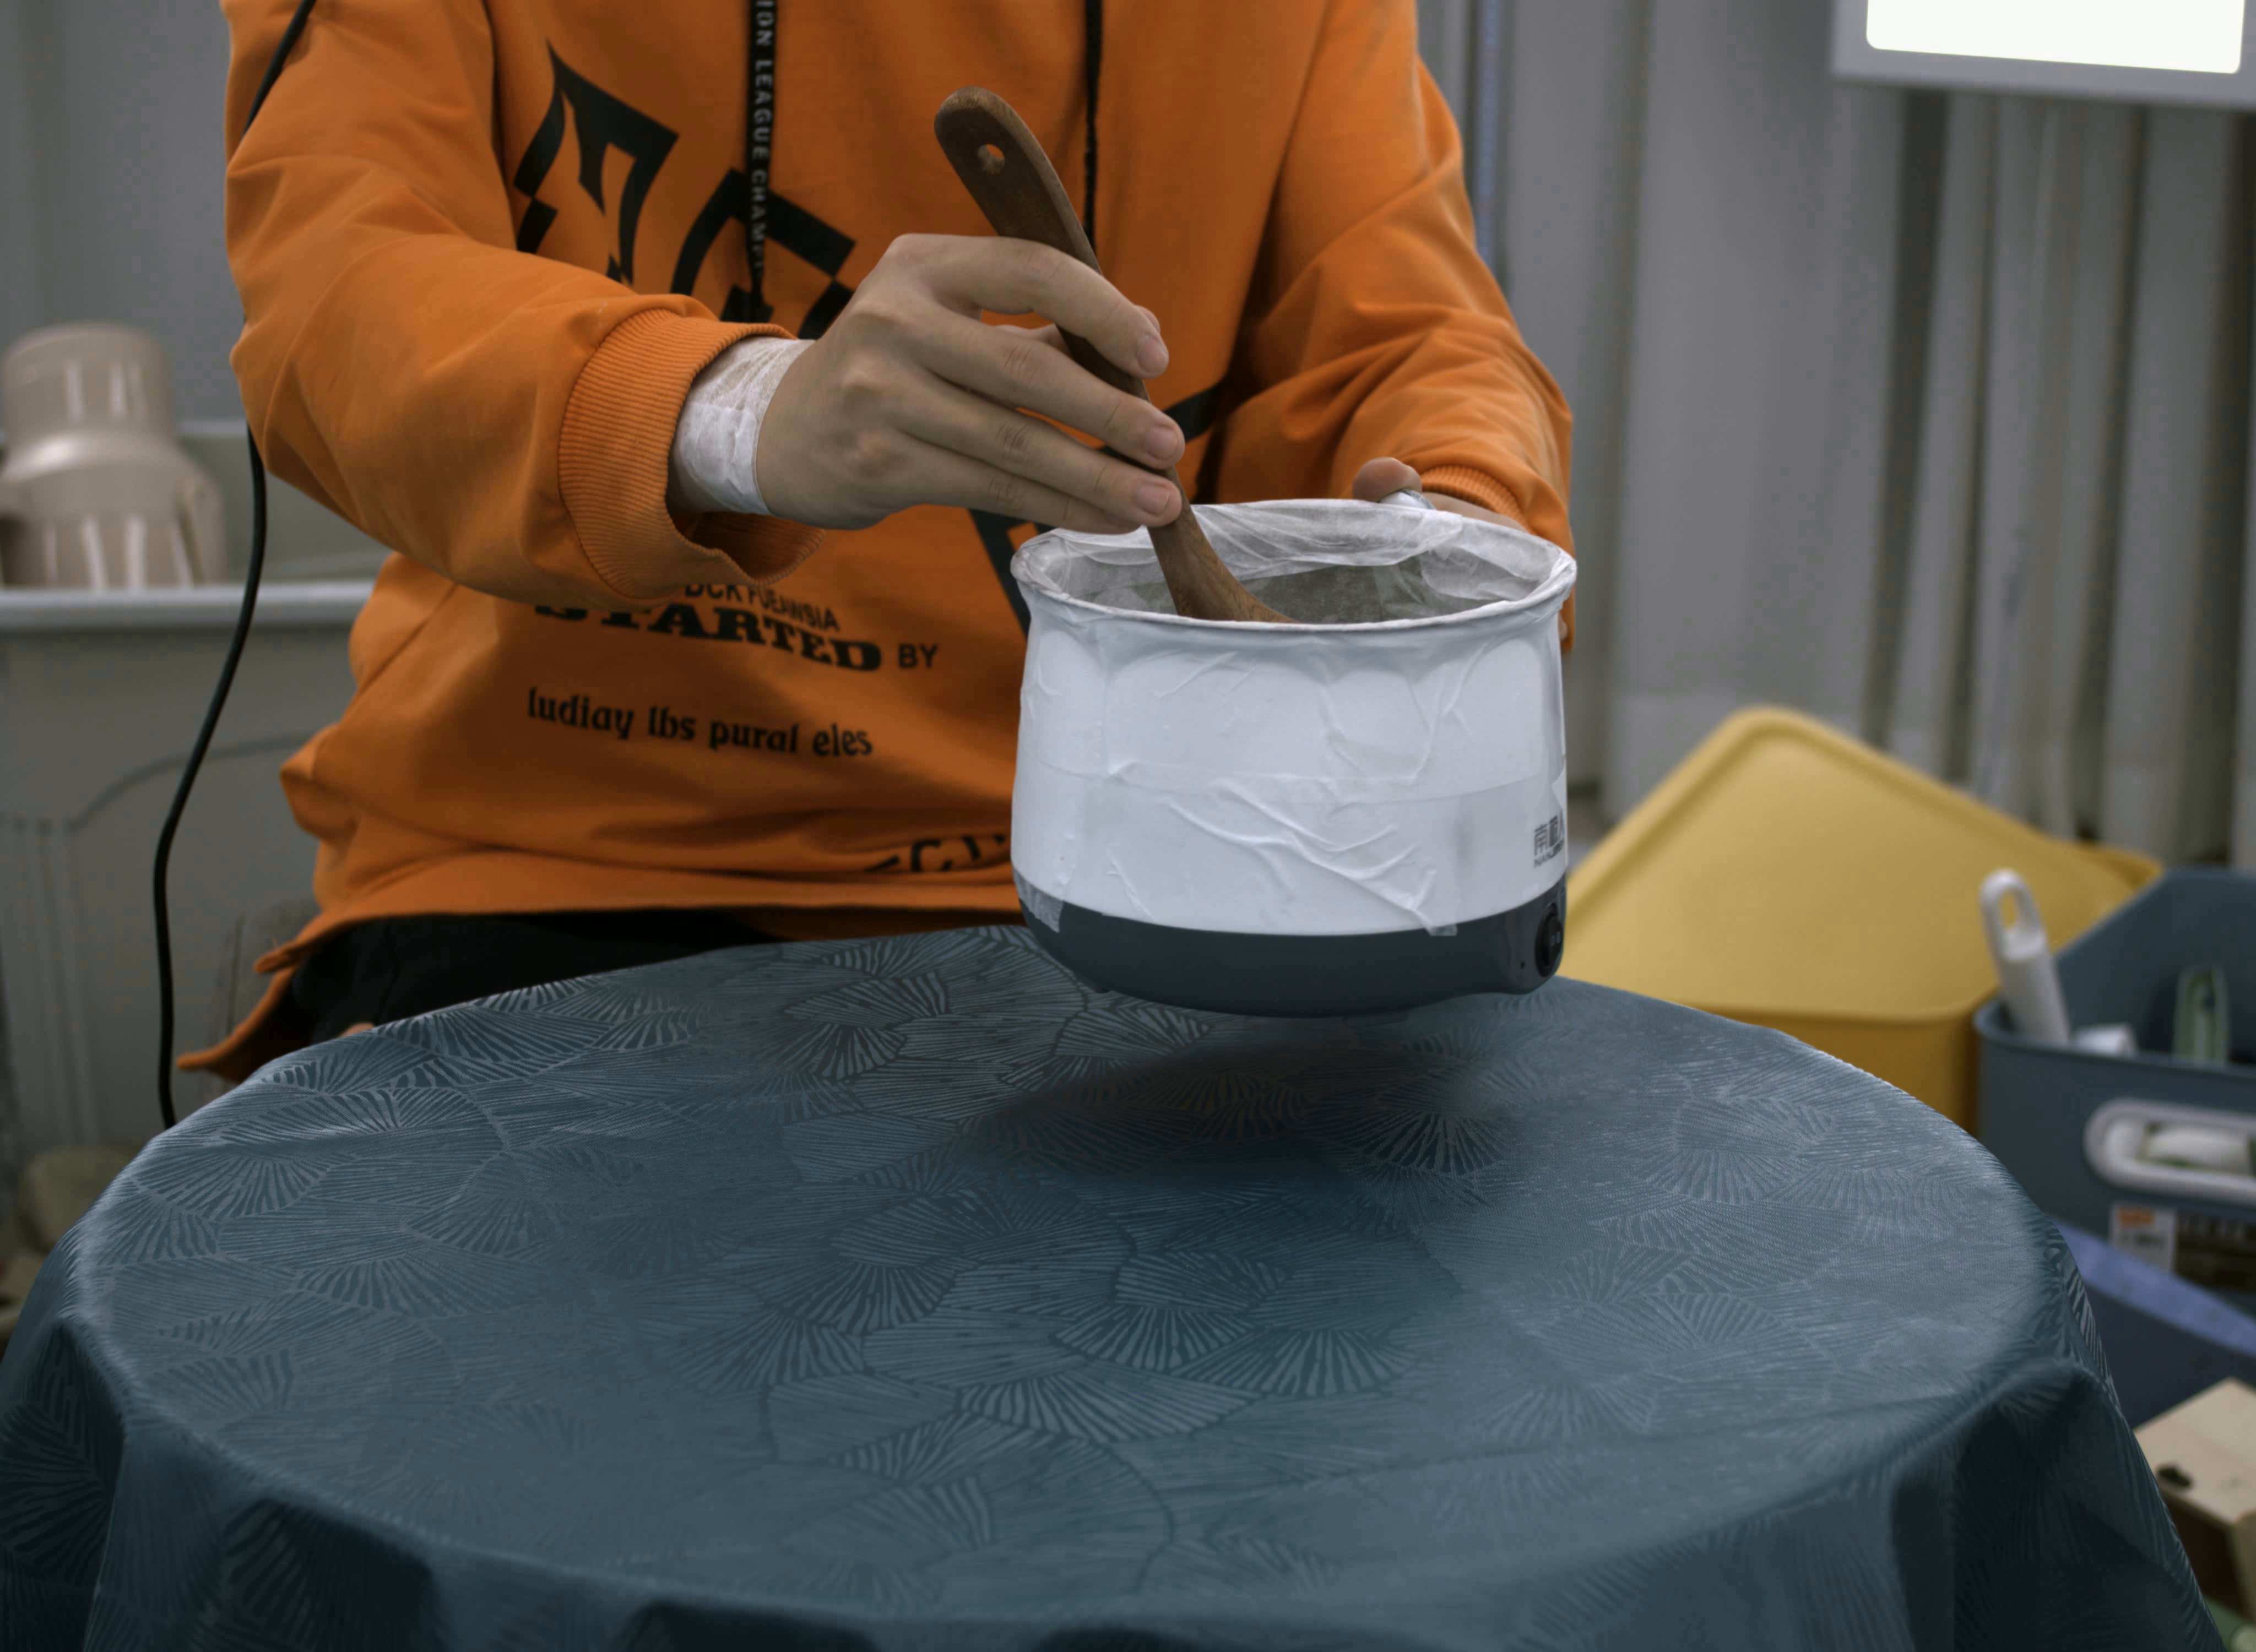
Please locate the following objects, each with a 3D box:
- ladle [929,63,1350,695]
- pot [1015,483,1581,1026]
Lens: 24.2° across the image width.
[{"bbox_3d":[0.013,-0.123,1.644,0.076,0.261,0.065,-26,6,22],"label":"ladle"},{"bbox_3d":[0.063,-0.029,1.687,0.177,0.138,0.234,7,17,20],"label":"pot"}]
